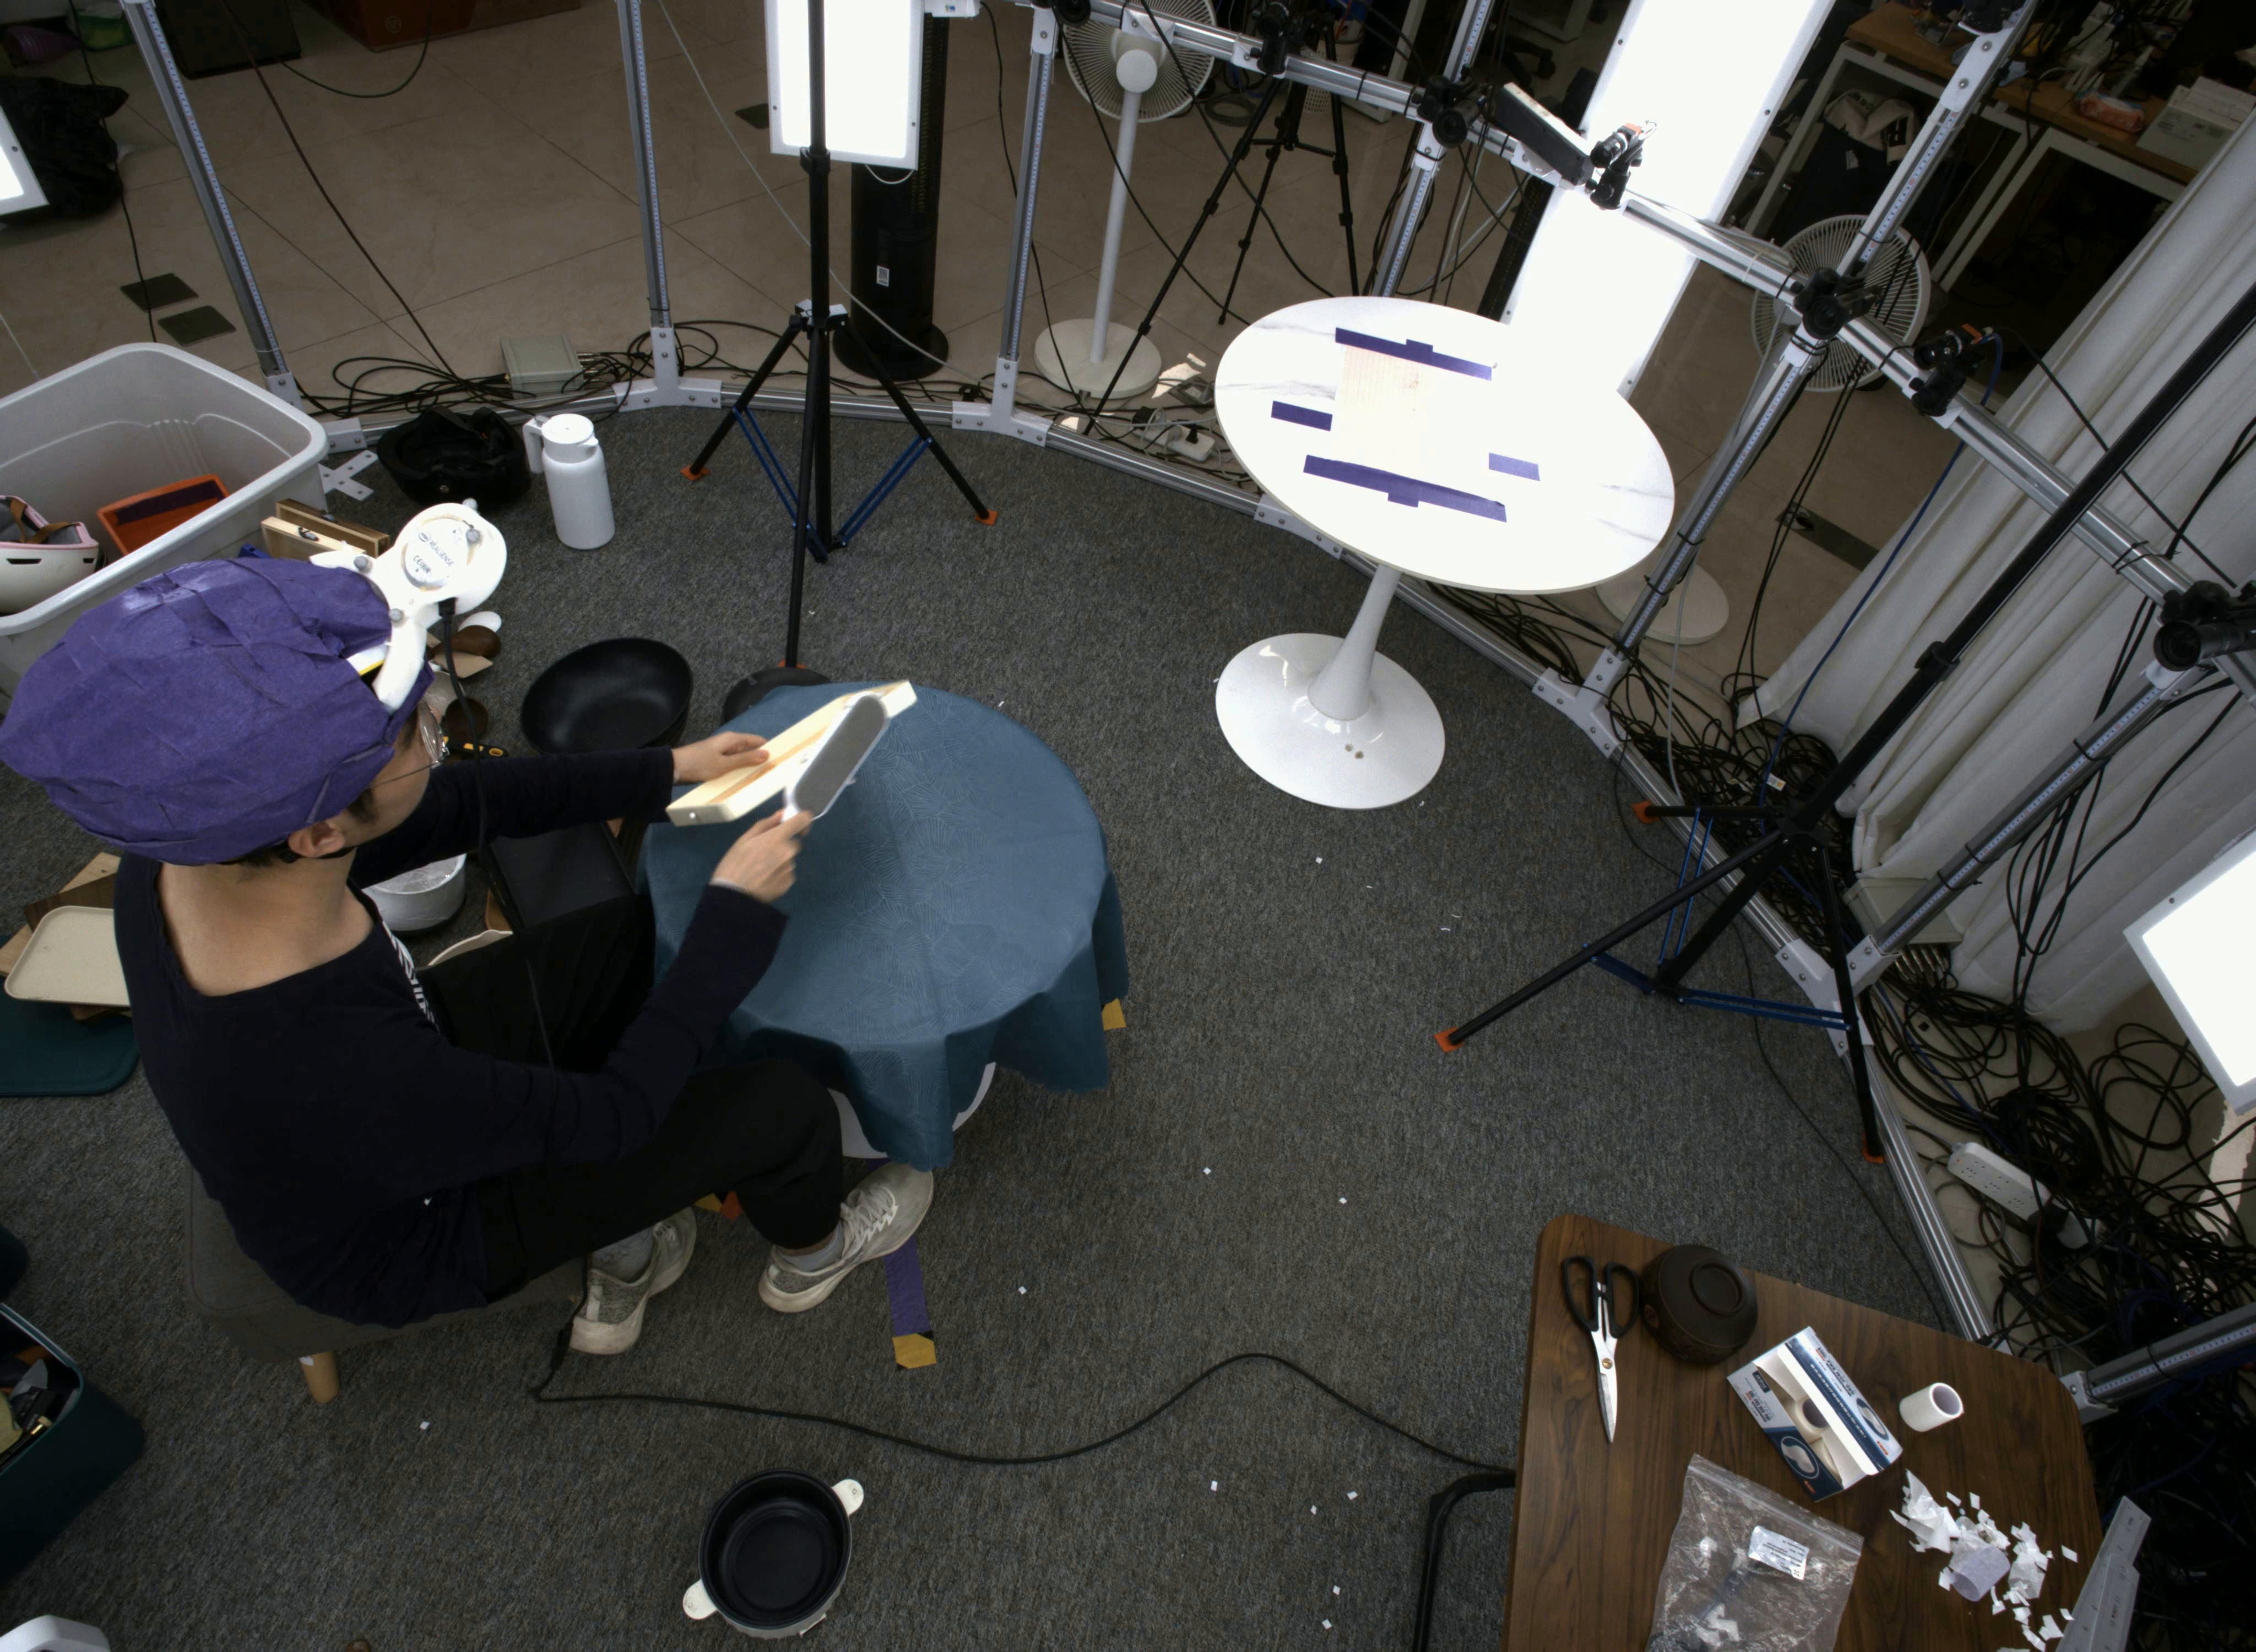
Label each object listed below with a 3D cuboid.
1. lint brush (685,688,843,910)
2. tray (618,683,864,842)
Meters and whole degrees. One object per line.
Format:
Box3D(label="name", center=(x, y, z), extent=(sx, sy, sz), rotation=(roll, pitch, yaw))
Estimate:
Box3D(label="lint brush", center=(-0.422, -0.036, 1.499), extent=(0.020, 0.062, 0.308), rotation=(5, 58, 41))
Box3D(label="tray", center=(-0.476, -0.080, 1.588), extent=(0.300, 0.186, 0.028), rotation=(-43, 114, -35))
